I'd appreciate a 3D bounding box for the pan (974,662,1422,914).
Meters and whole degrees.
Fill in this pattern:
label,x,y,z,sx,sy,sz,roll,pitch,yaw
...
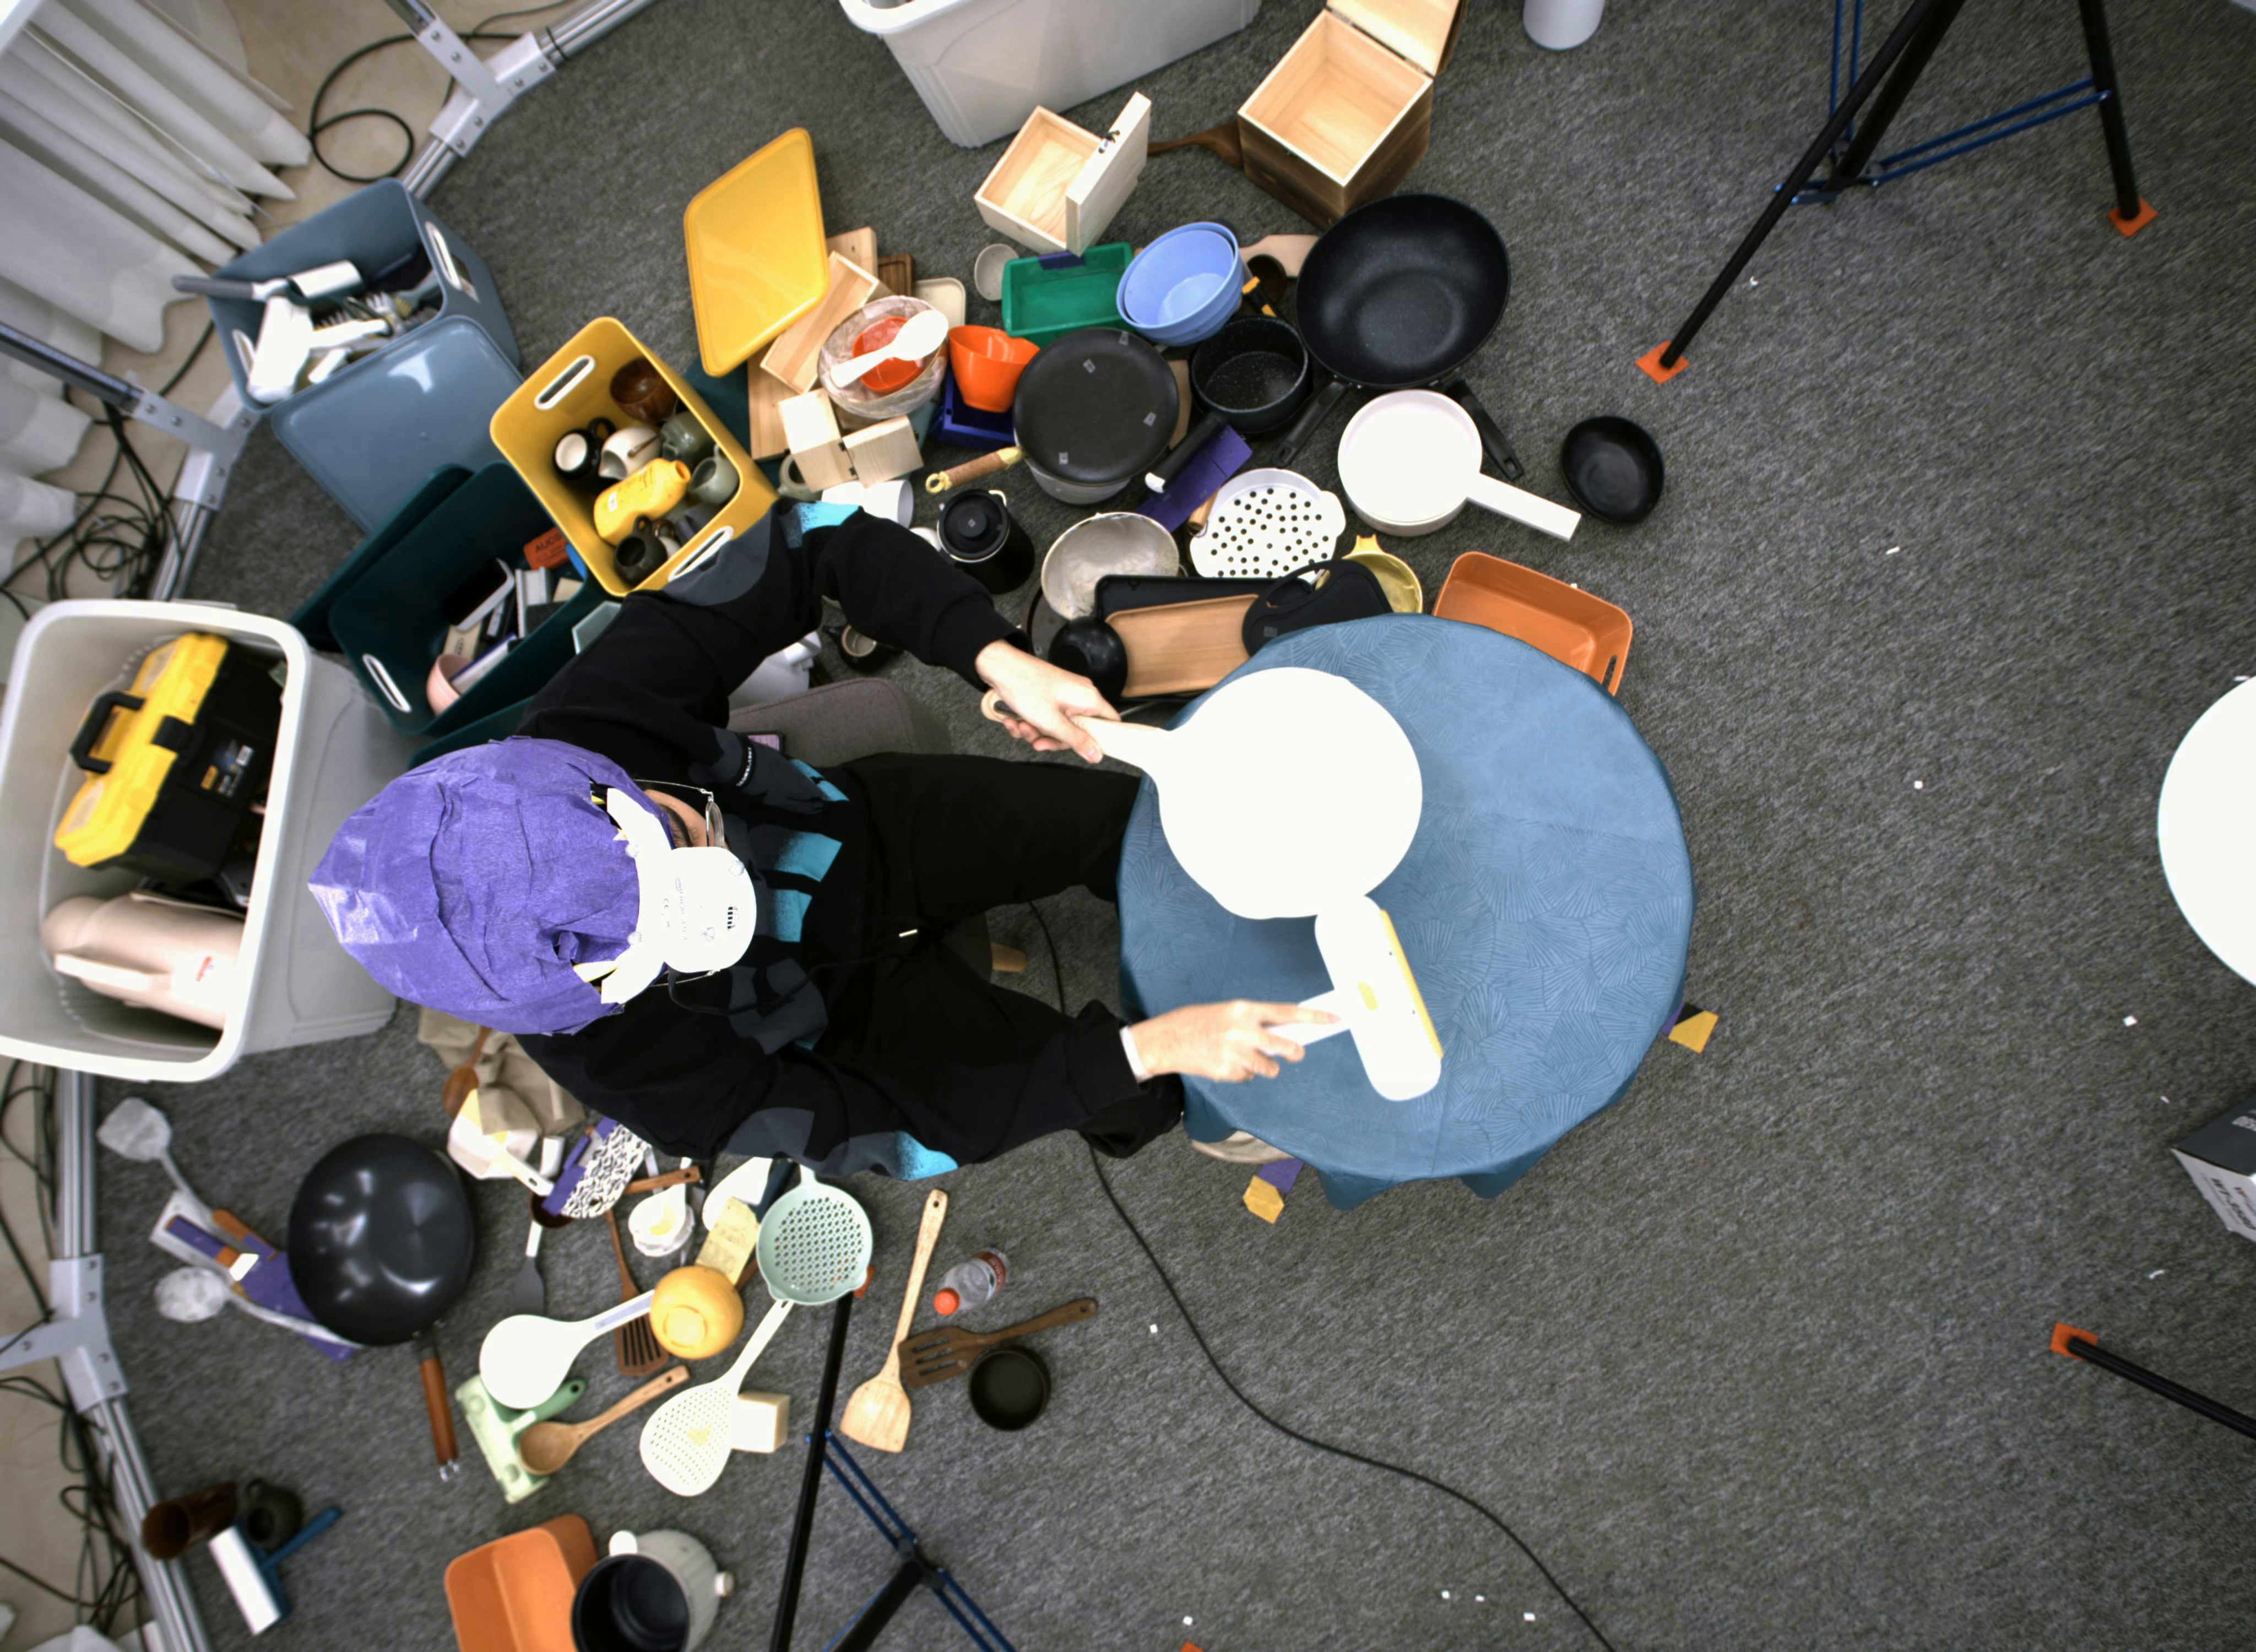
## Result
label,x,y,z,sx,sy,sz,roll,pitch,yaw
pan,0.069,-0.070,1.340,0.435,0.099,0.269,18,118,-4

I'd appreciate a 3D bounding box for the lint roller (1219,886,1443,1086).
label,x,y,z,sx,sy,sz,roll,pitch,yaw
lint roller,0.176,0.172,1.292,0.194,0.074,0.191,-27,82,10
